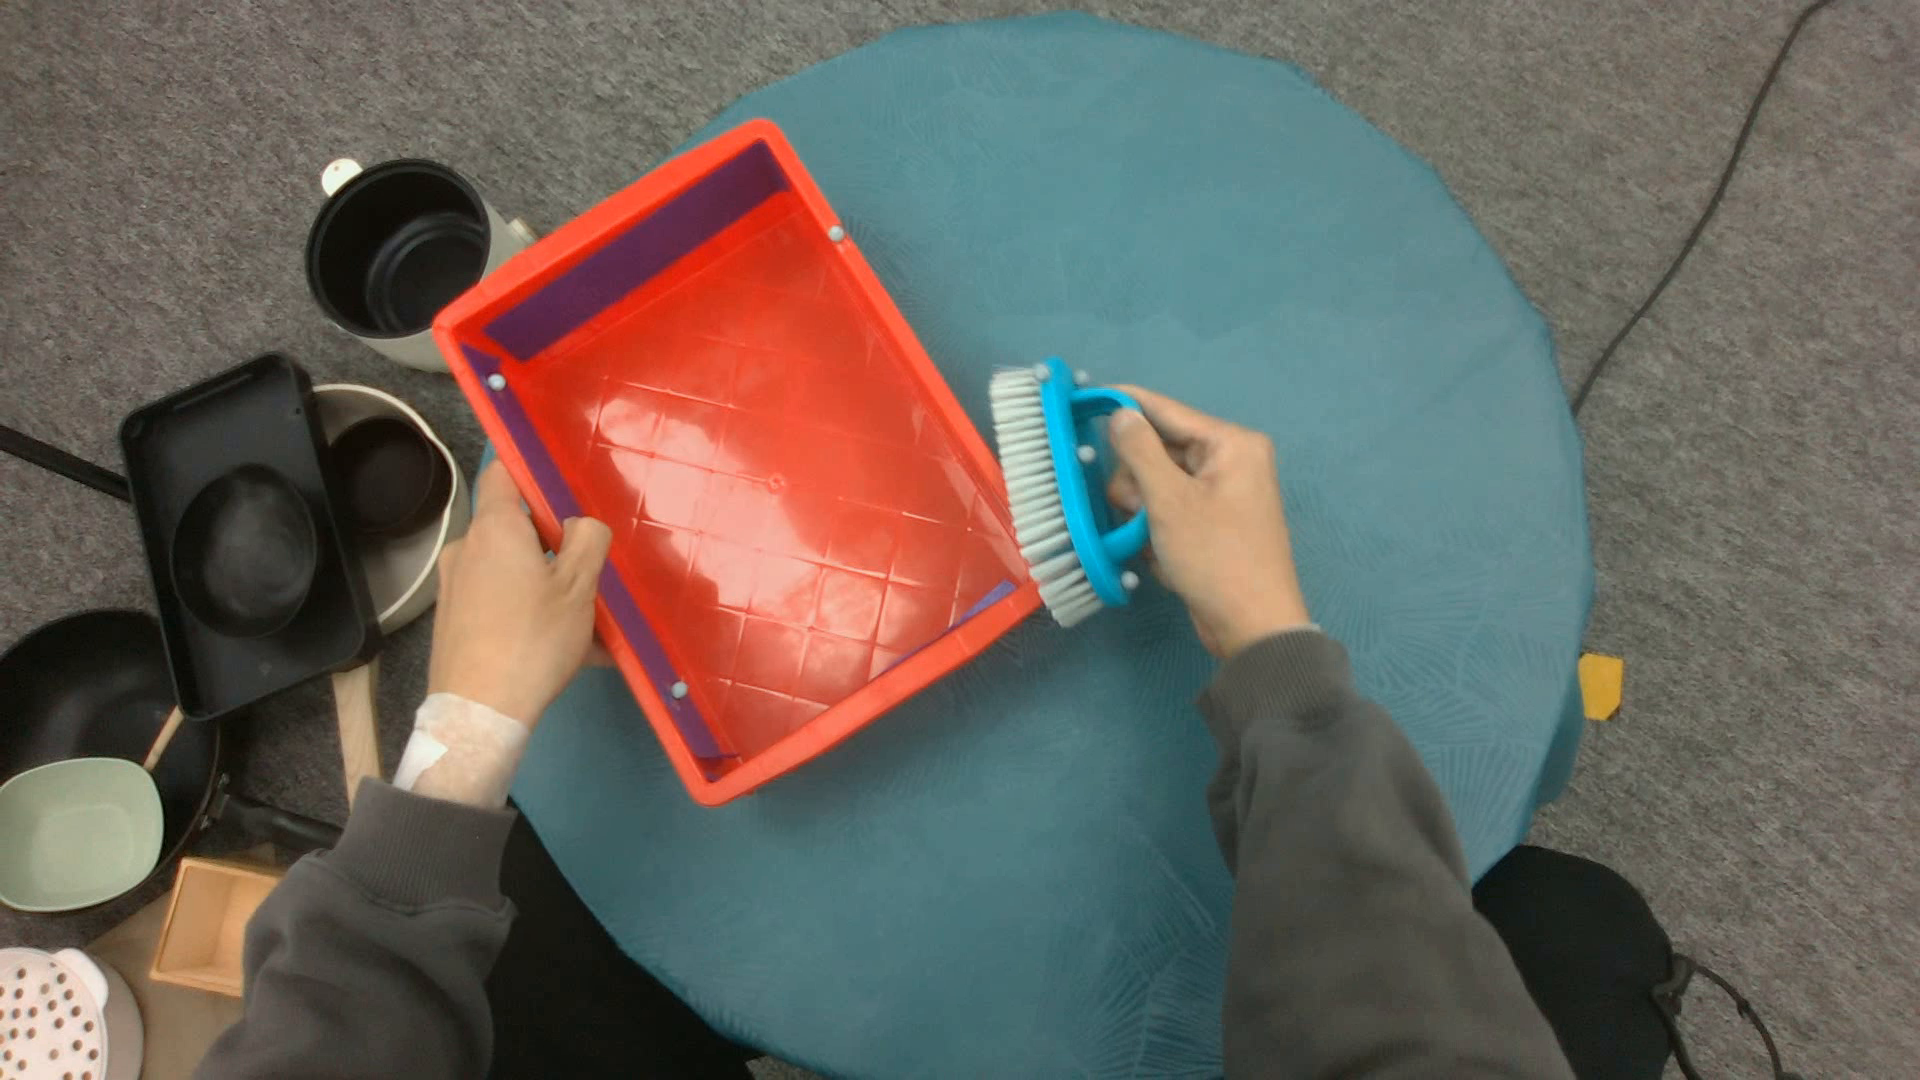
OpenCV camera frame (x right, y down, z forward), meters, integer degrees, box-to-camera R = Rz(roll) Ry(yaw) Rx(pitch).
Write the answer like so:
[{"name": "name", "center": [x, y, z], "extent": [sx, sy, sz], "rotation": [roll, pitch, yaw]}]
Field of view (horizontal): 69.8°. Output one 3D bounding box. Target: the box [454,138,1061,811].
[{"name": "box", "center": [-0.100, -0.032, 0.729], "extent": [0.206, 0.096, 0.304], "rotation": [-32, 75, -1]}]

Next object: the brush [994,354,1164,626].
[{"name": "brush", "center": [0.063, -0.029, 0.674], "extent": [0.063, 0.084, 0.142], "rotation": [-20, 53, 13]}]
